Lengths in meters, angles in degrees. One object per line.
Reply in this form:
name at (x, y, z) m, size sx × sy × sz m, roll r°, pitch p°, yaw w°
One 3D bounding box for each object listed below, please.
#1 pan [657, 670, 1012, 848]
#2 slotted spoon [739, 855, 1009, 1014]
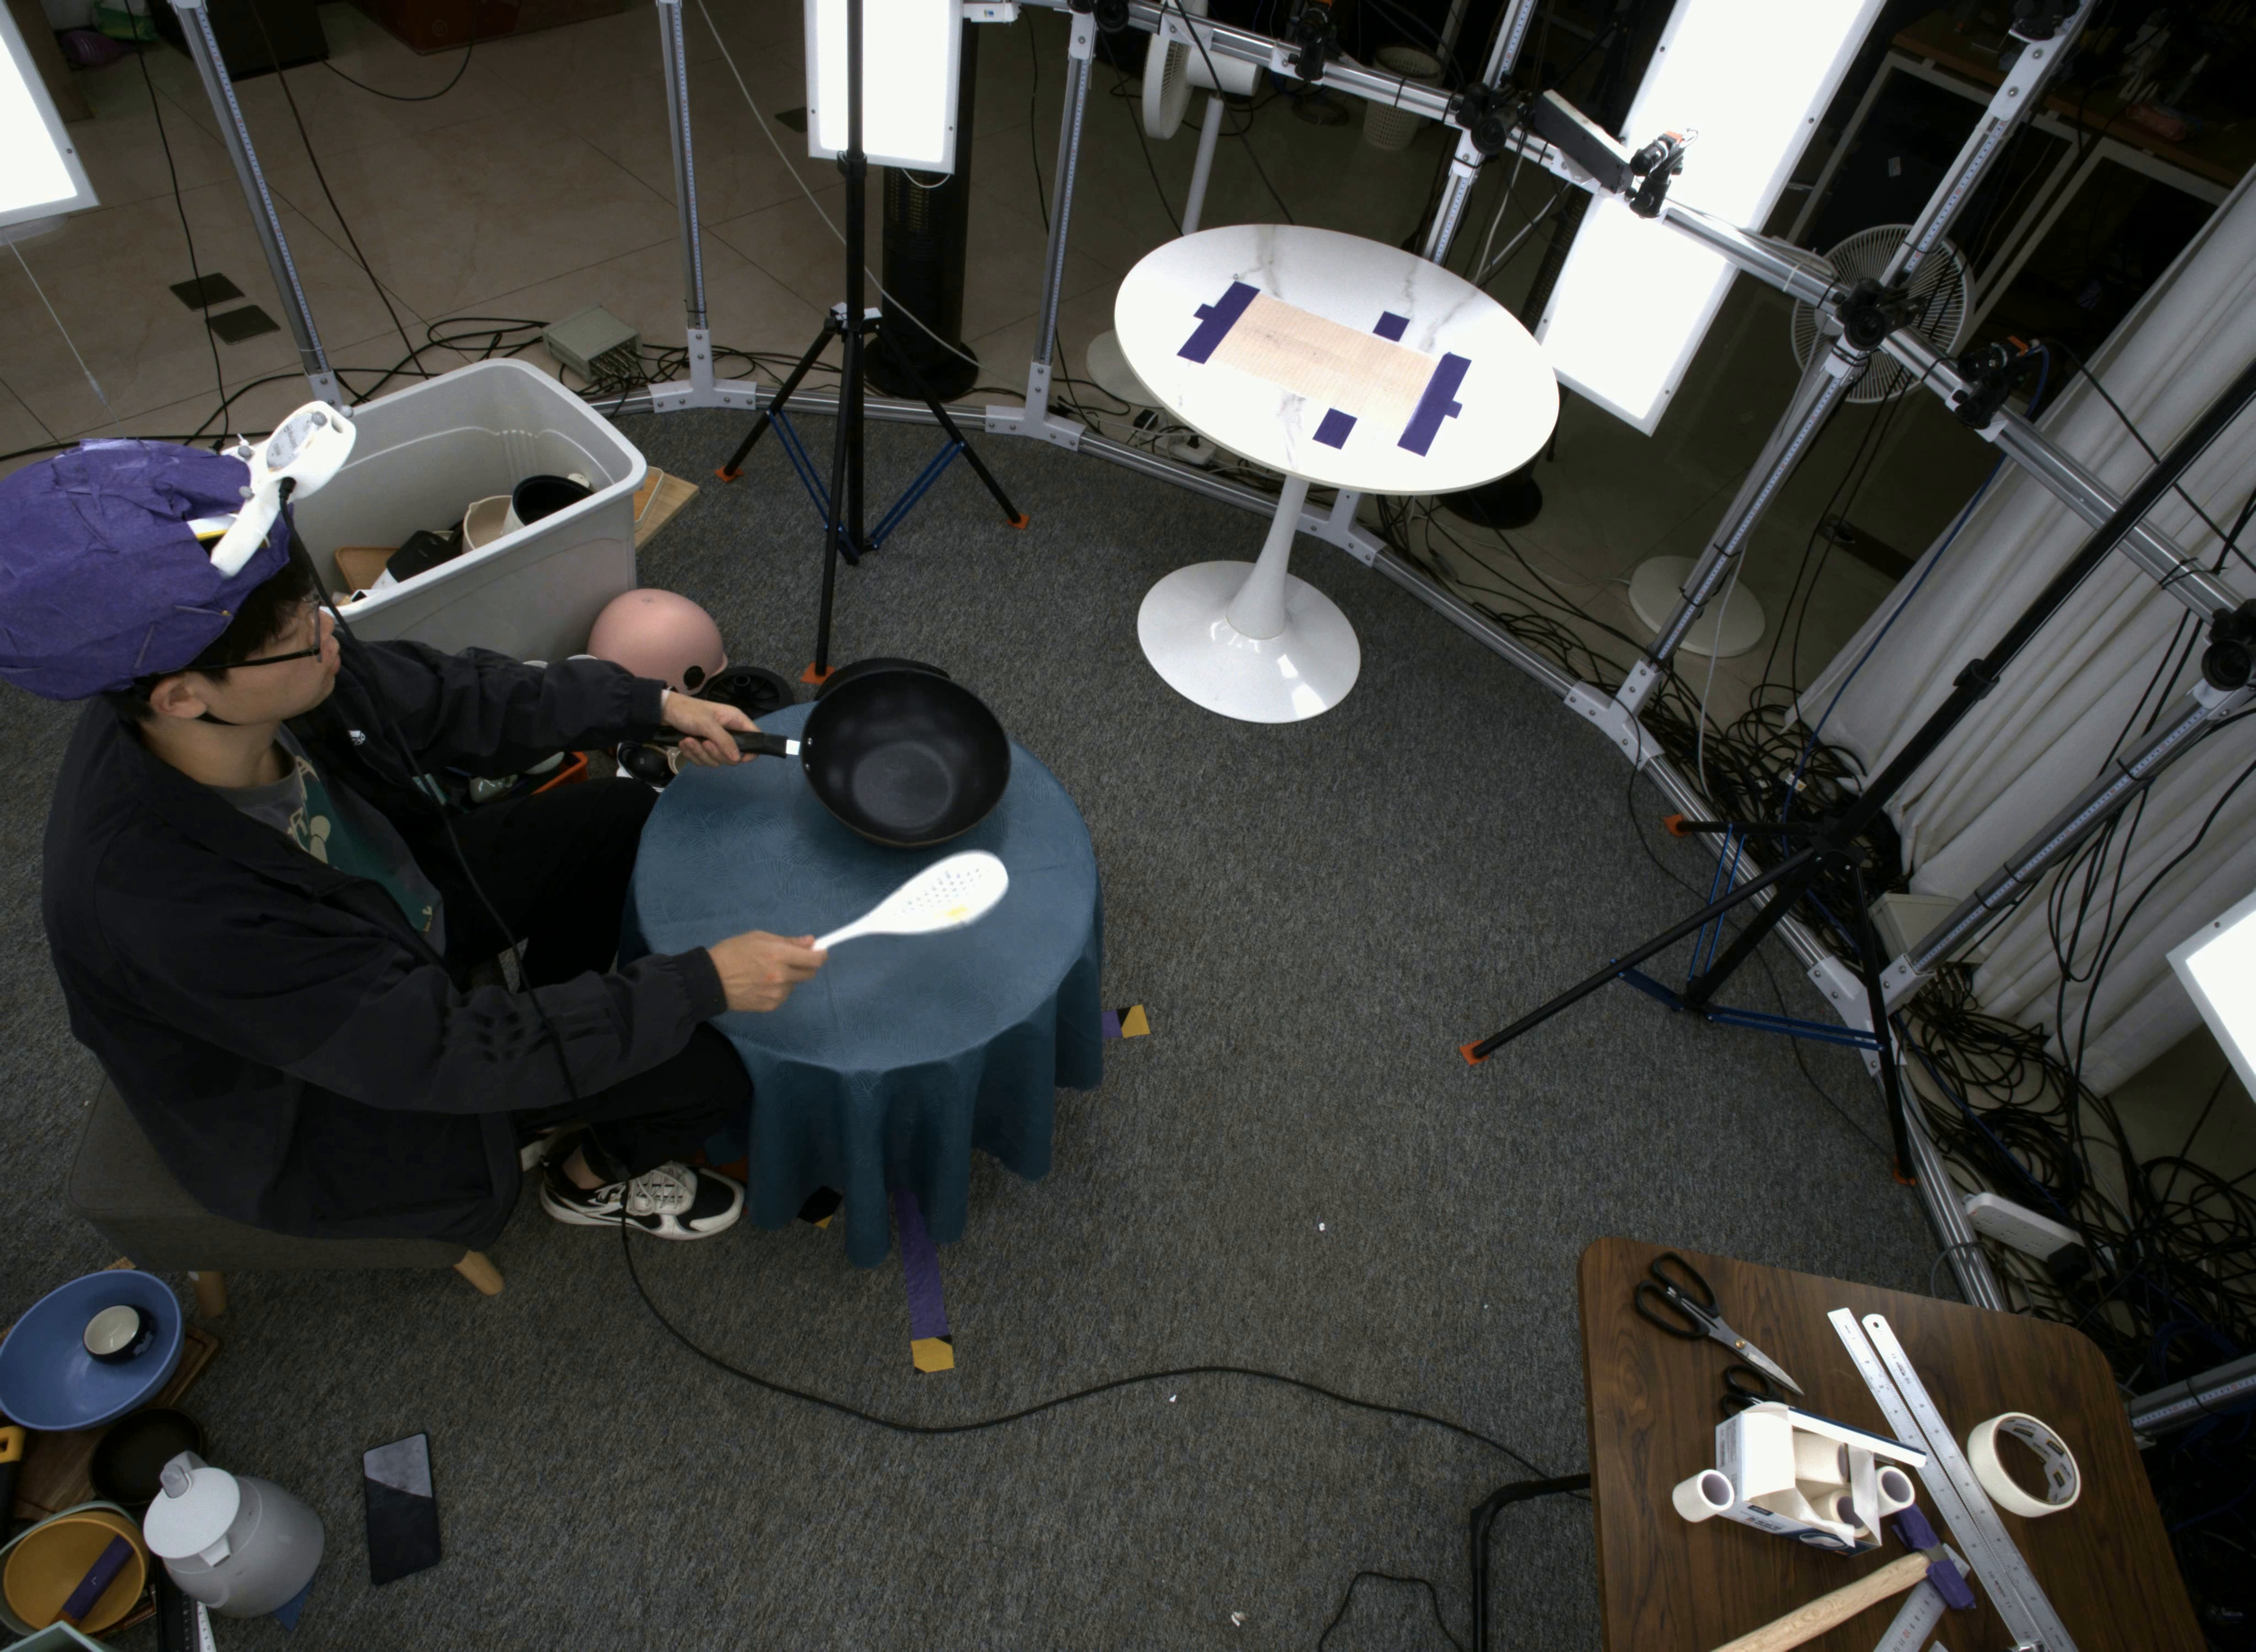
pan at (-0.387, -0.083, 1.730) m, size 0.464 × 0.088 × 0.283 m, roll 4°, pitch 56°, yaw -14°
slotted spoon at (-0.300, 0.131, 1.531) m, size 0.347 × 0.052 × 0.132 m, roll -20°, pitch 34°, yaw -13°
